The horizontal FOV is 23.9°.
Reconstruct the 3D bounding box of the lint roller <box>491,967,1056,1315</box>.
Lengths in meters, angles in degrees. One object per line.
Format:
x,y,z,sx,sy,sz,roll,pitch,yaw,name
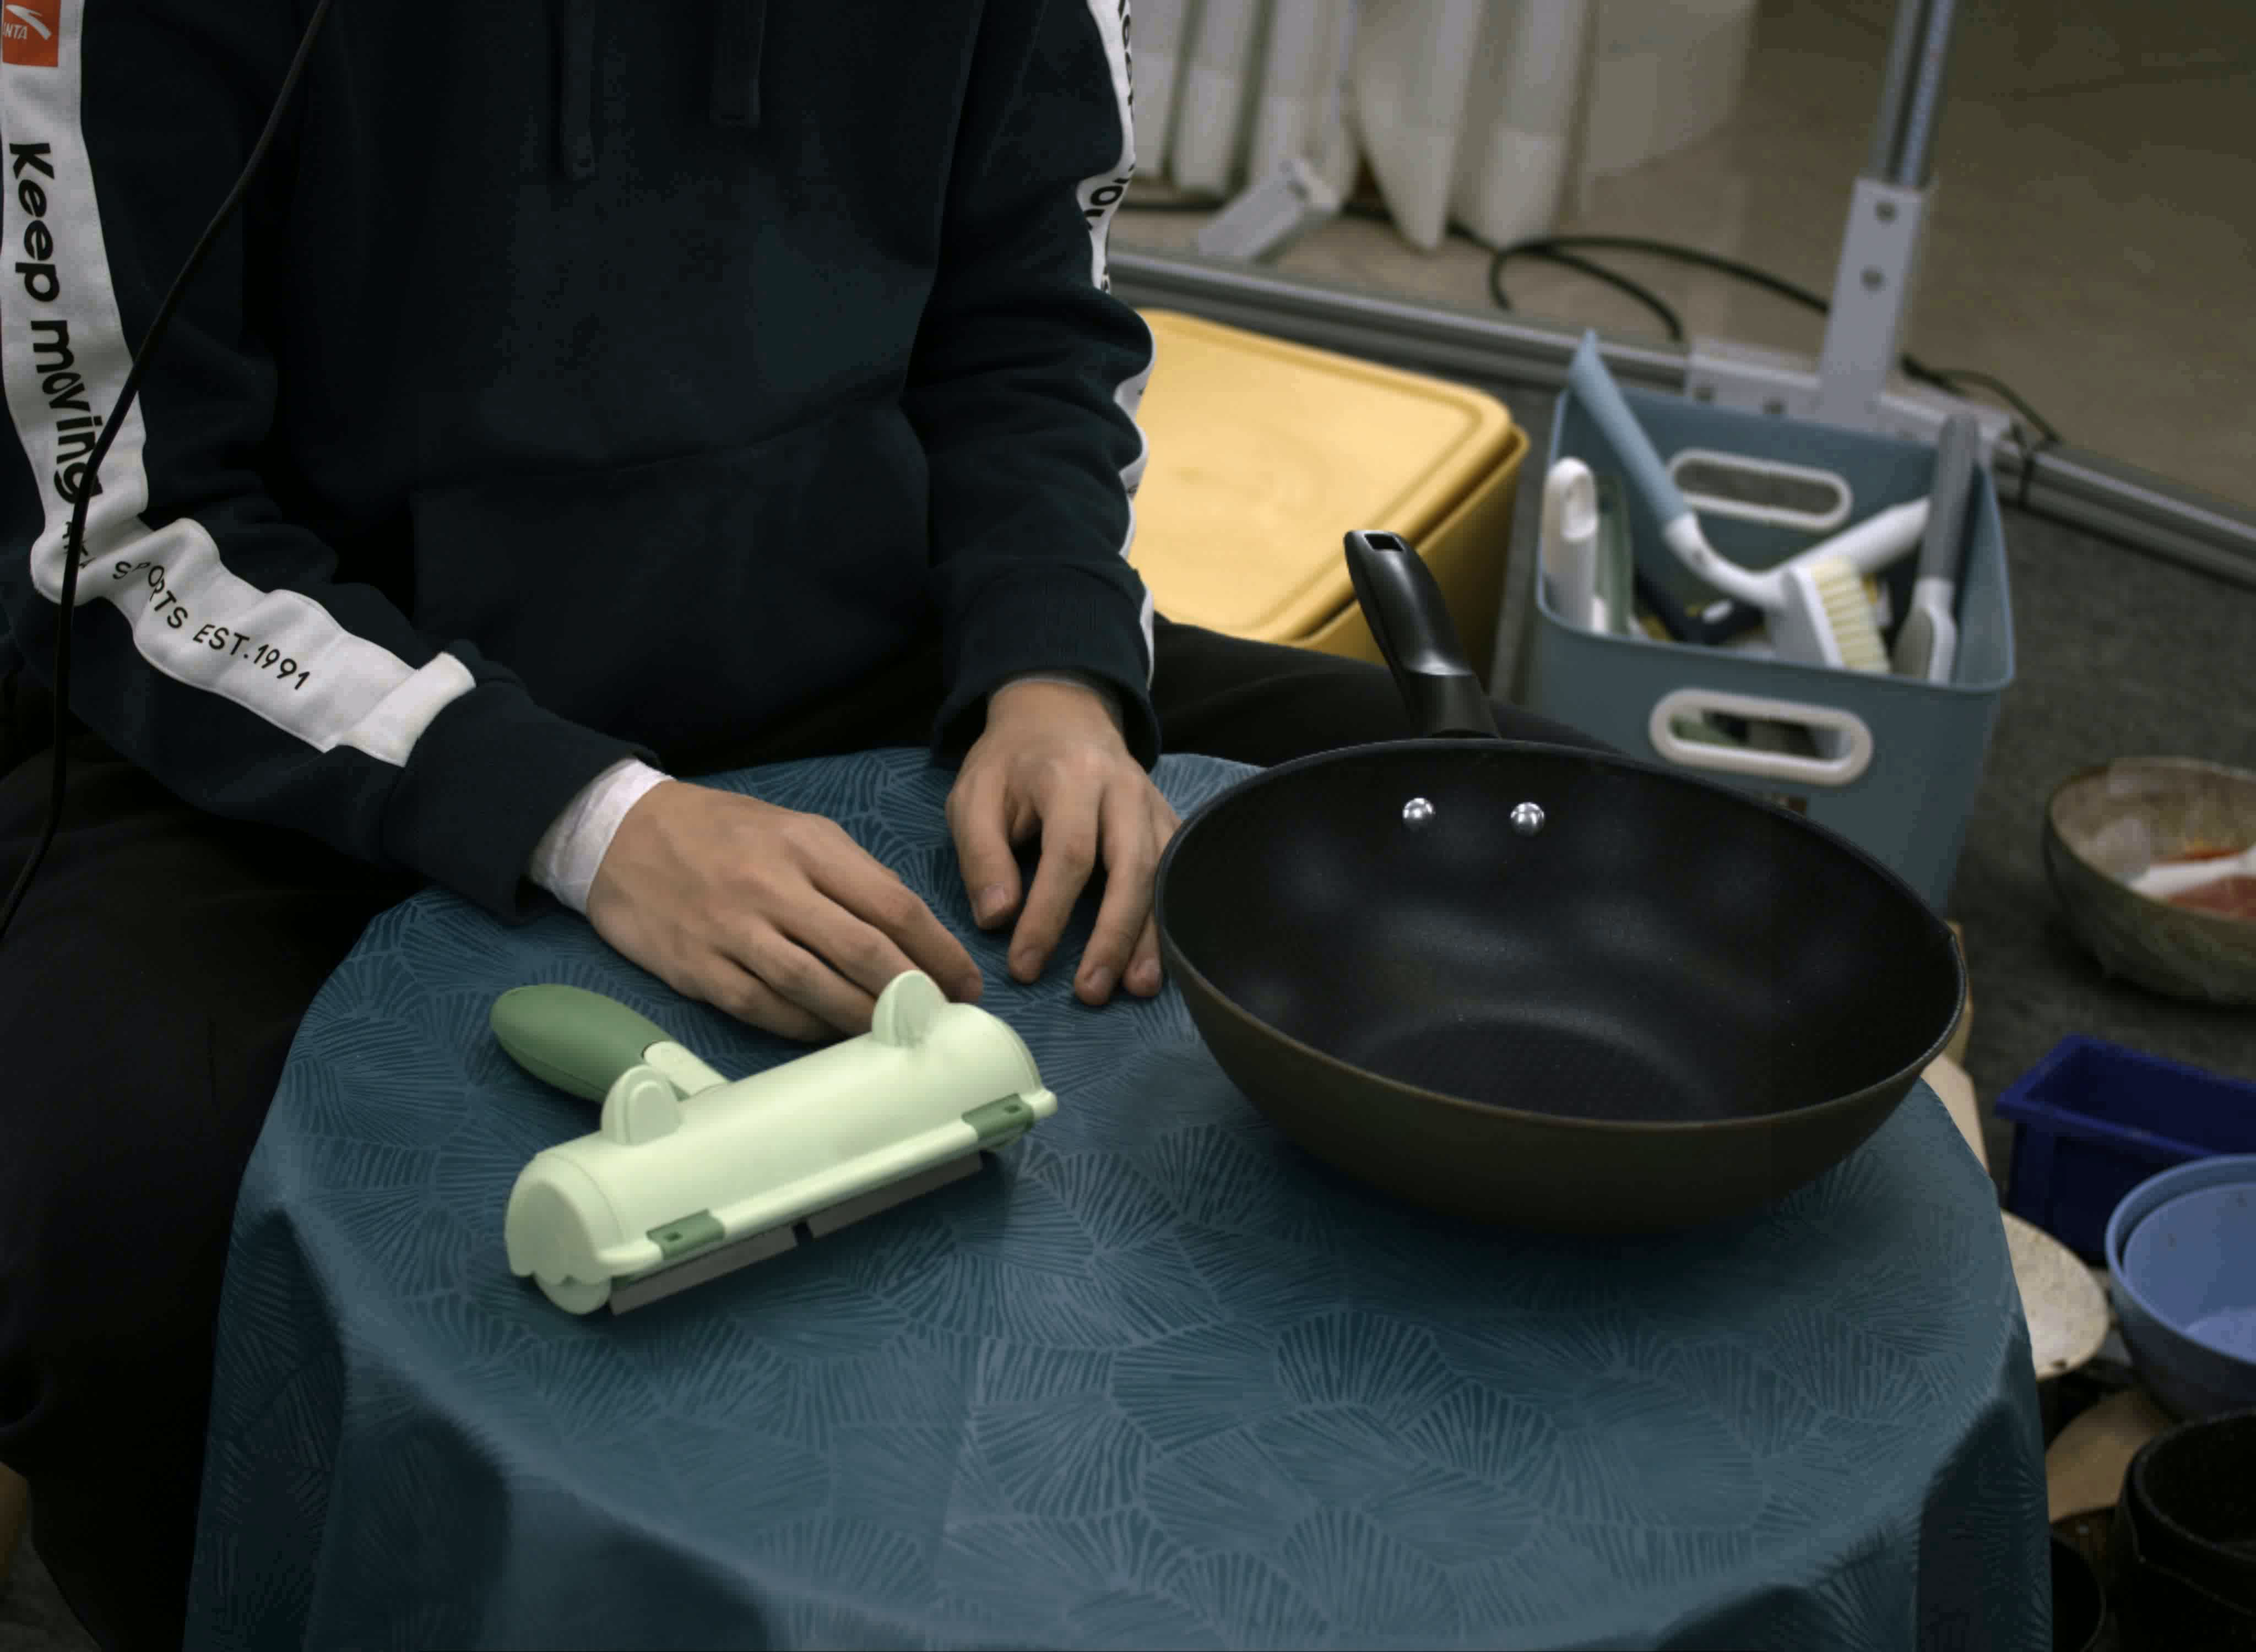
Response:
-0.151,0.076,1.776,0.197,0.082,0.185,-19,41,-40,lint roller

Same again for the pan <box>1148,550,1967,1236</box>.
0.128,0.026,1.928,0.286,0.086,0.467,1,26,-12,pan
